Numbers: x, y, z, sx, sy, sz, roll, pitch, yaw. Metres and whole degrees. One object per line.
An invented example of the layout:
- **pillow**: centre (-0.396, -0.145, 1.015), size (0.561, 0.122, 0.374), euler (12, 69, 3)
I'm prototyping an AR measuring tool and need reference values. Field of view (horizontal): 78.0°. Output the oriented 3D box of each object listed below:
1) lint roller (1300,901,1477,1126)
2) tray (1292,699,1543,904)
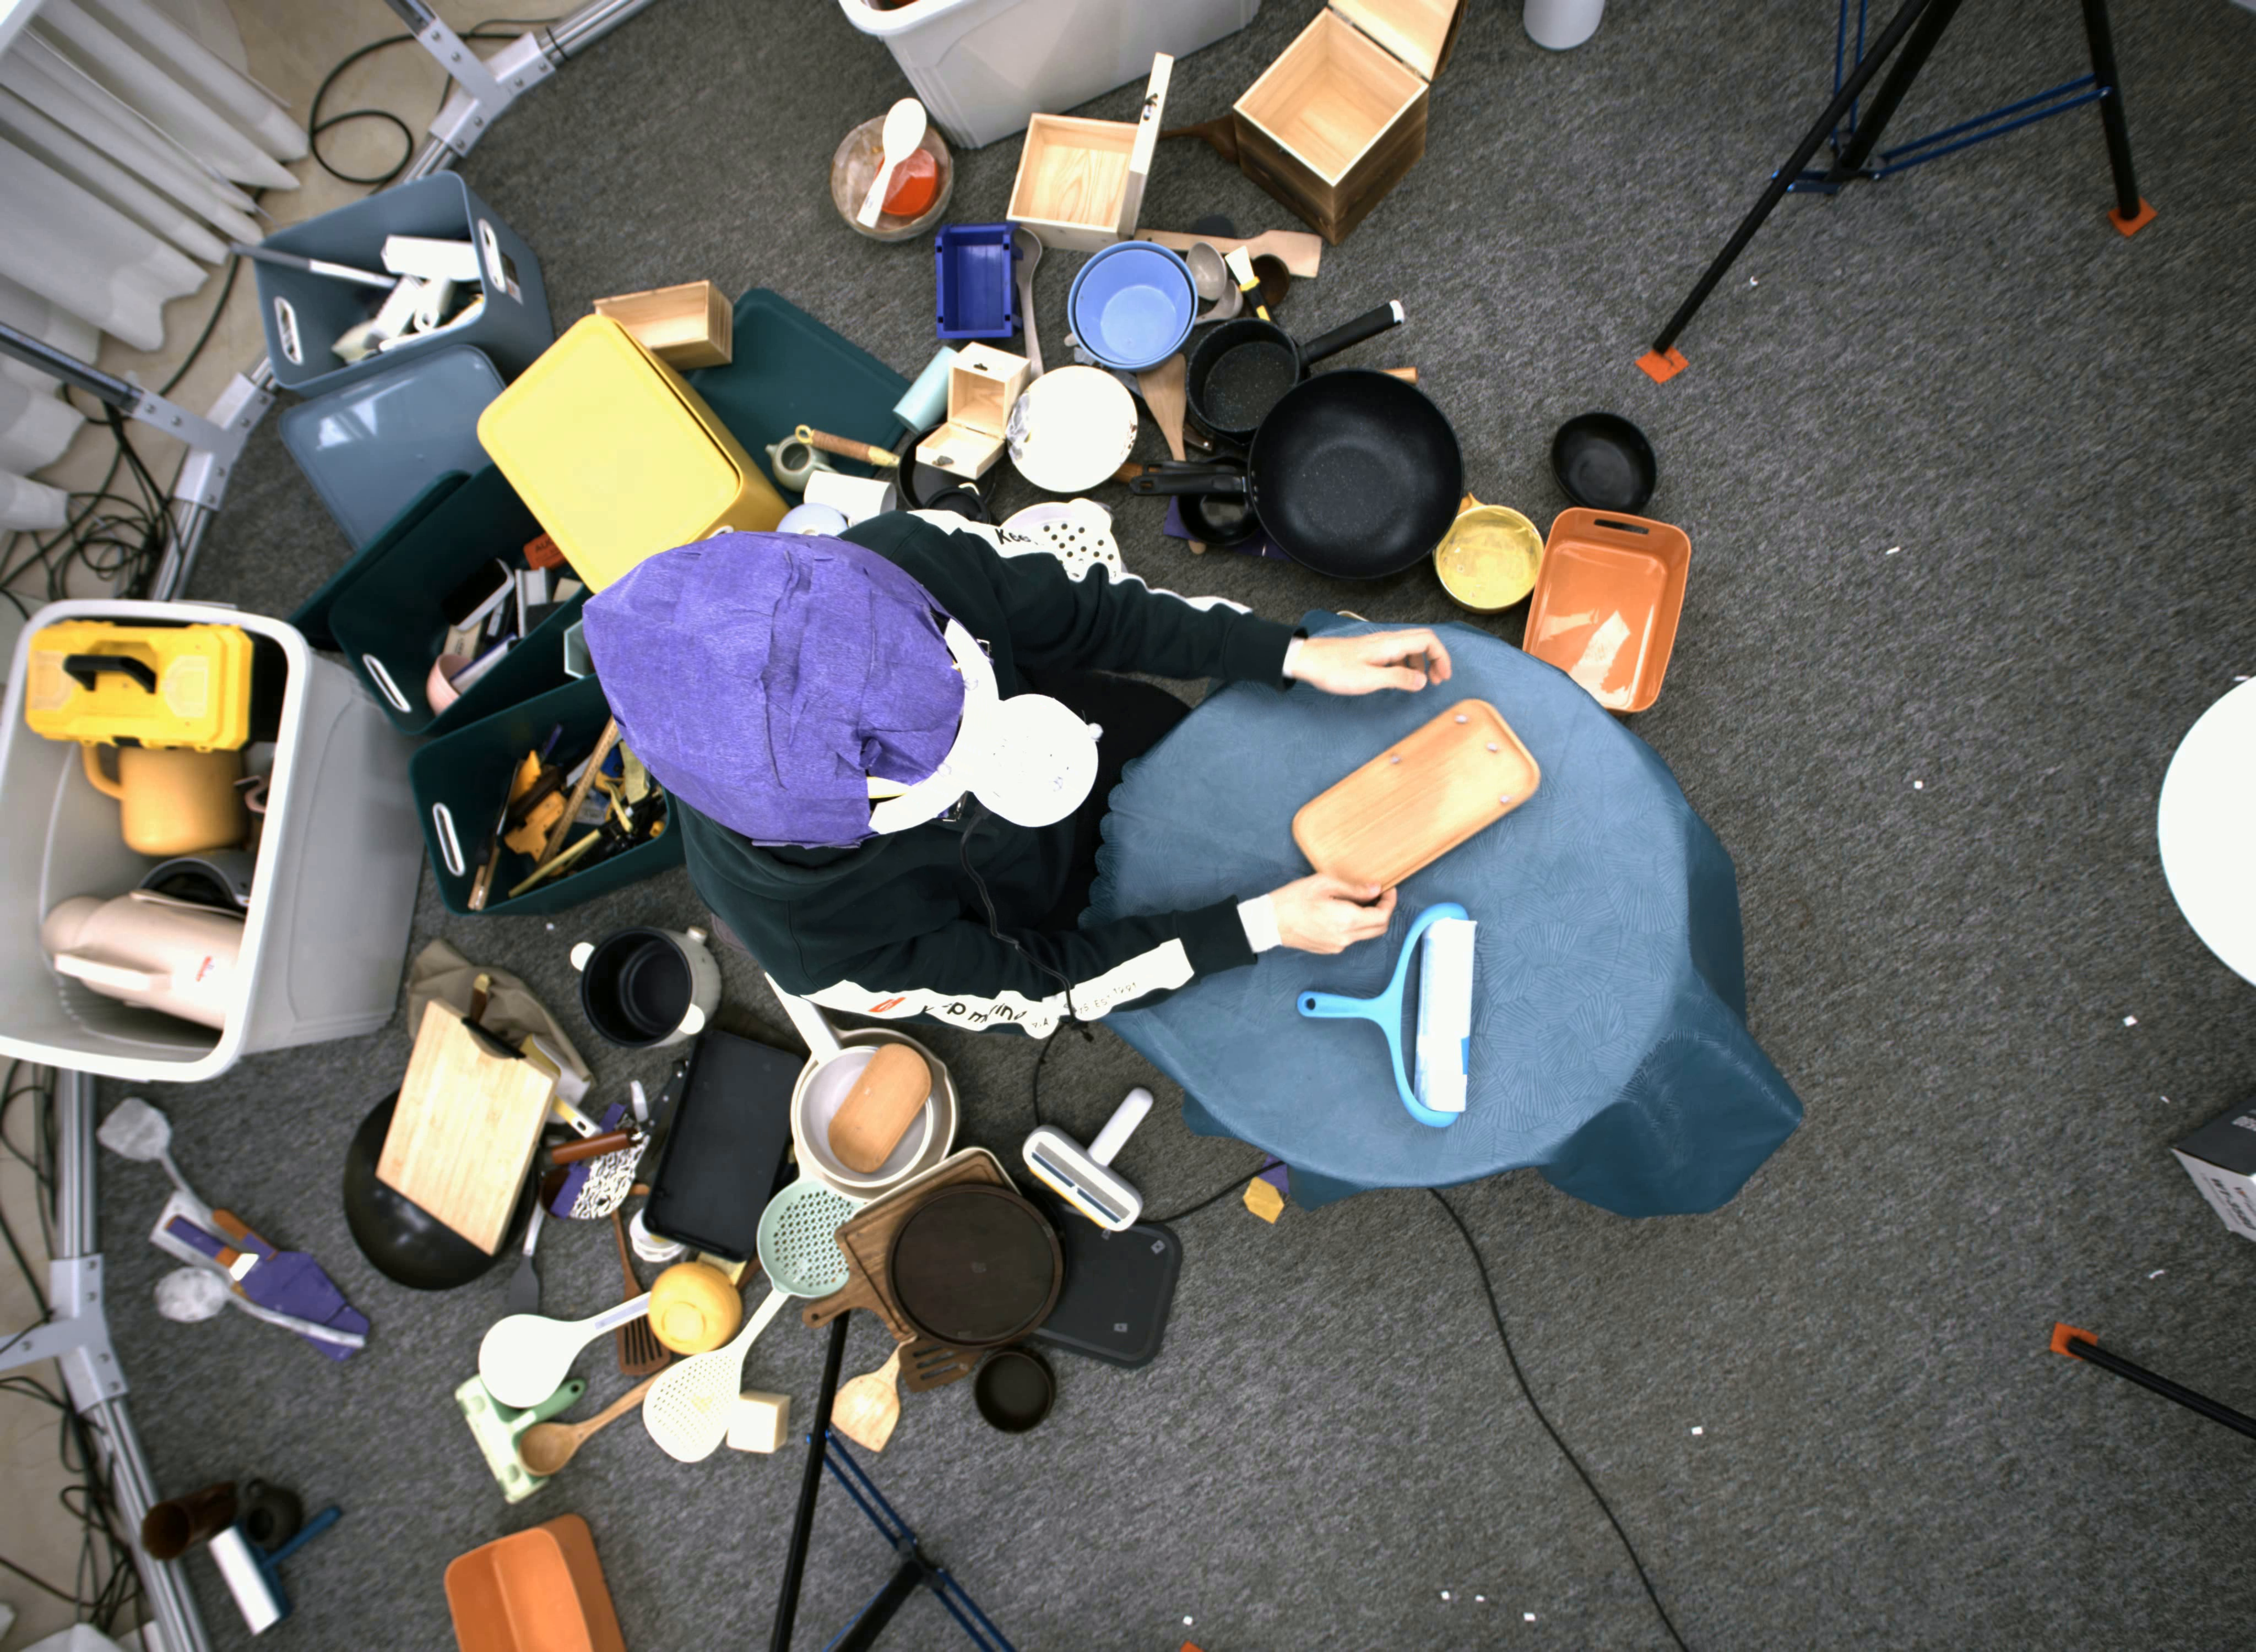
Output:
- **lint roller**: centre (0.267, 0.189, 1.421), size (0.181, 0.068, 0.228), euler (0, 88, 10)
- **tray**: centre (0.300, -0.027, 1.436), size (0.252, 0.023, 0.129), euler (-32, 69, 8)
